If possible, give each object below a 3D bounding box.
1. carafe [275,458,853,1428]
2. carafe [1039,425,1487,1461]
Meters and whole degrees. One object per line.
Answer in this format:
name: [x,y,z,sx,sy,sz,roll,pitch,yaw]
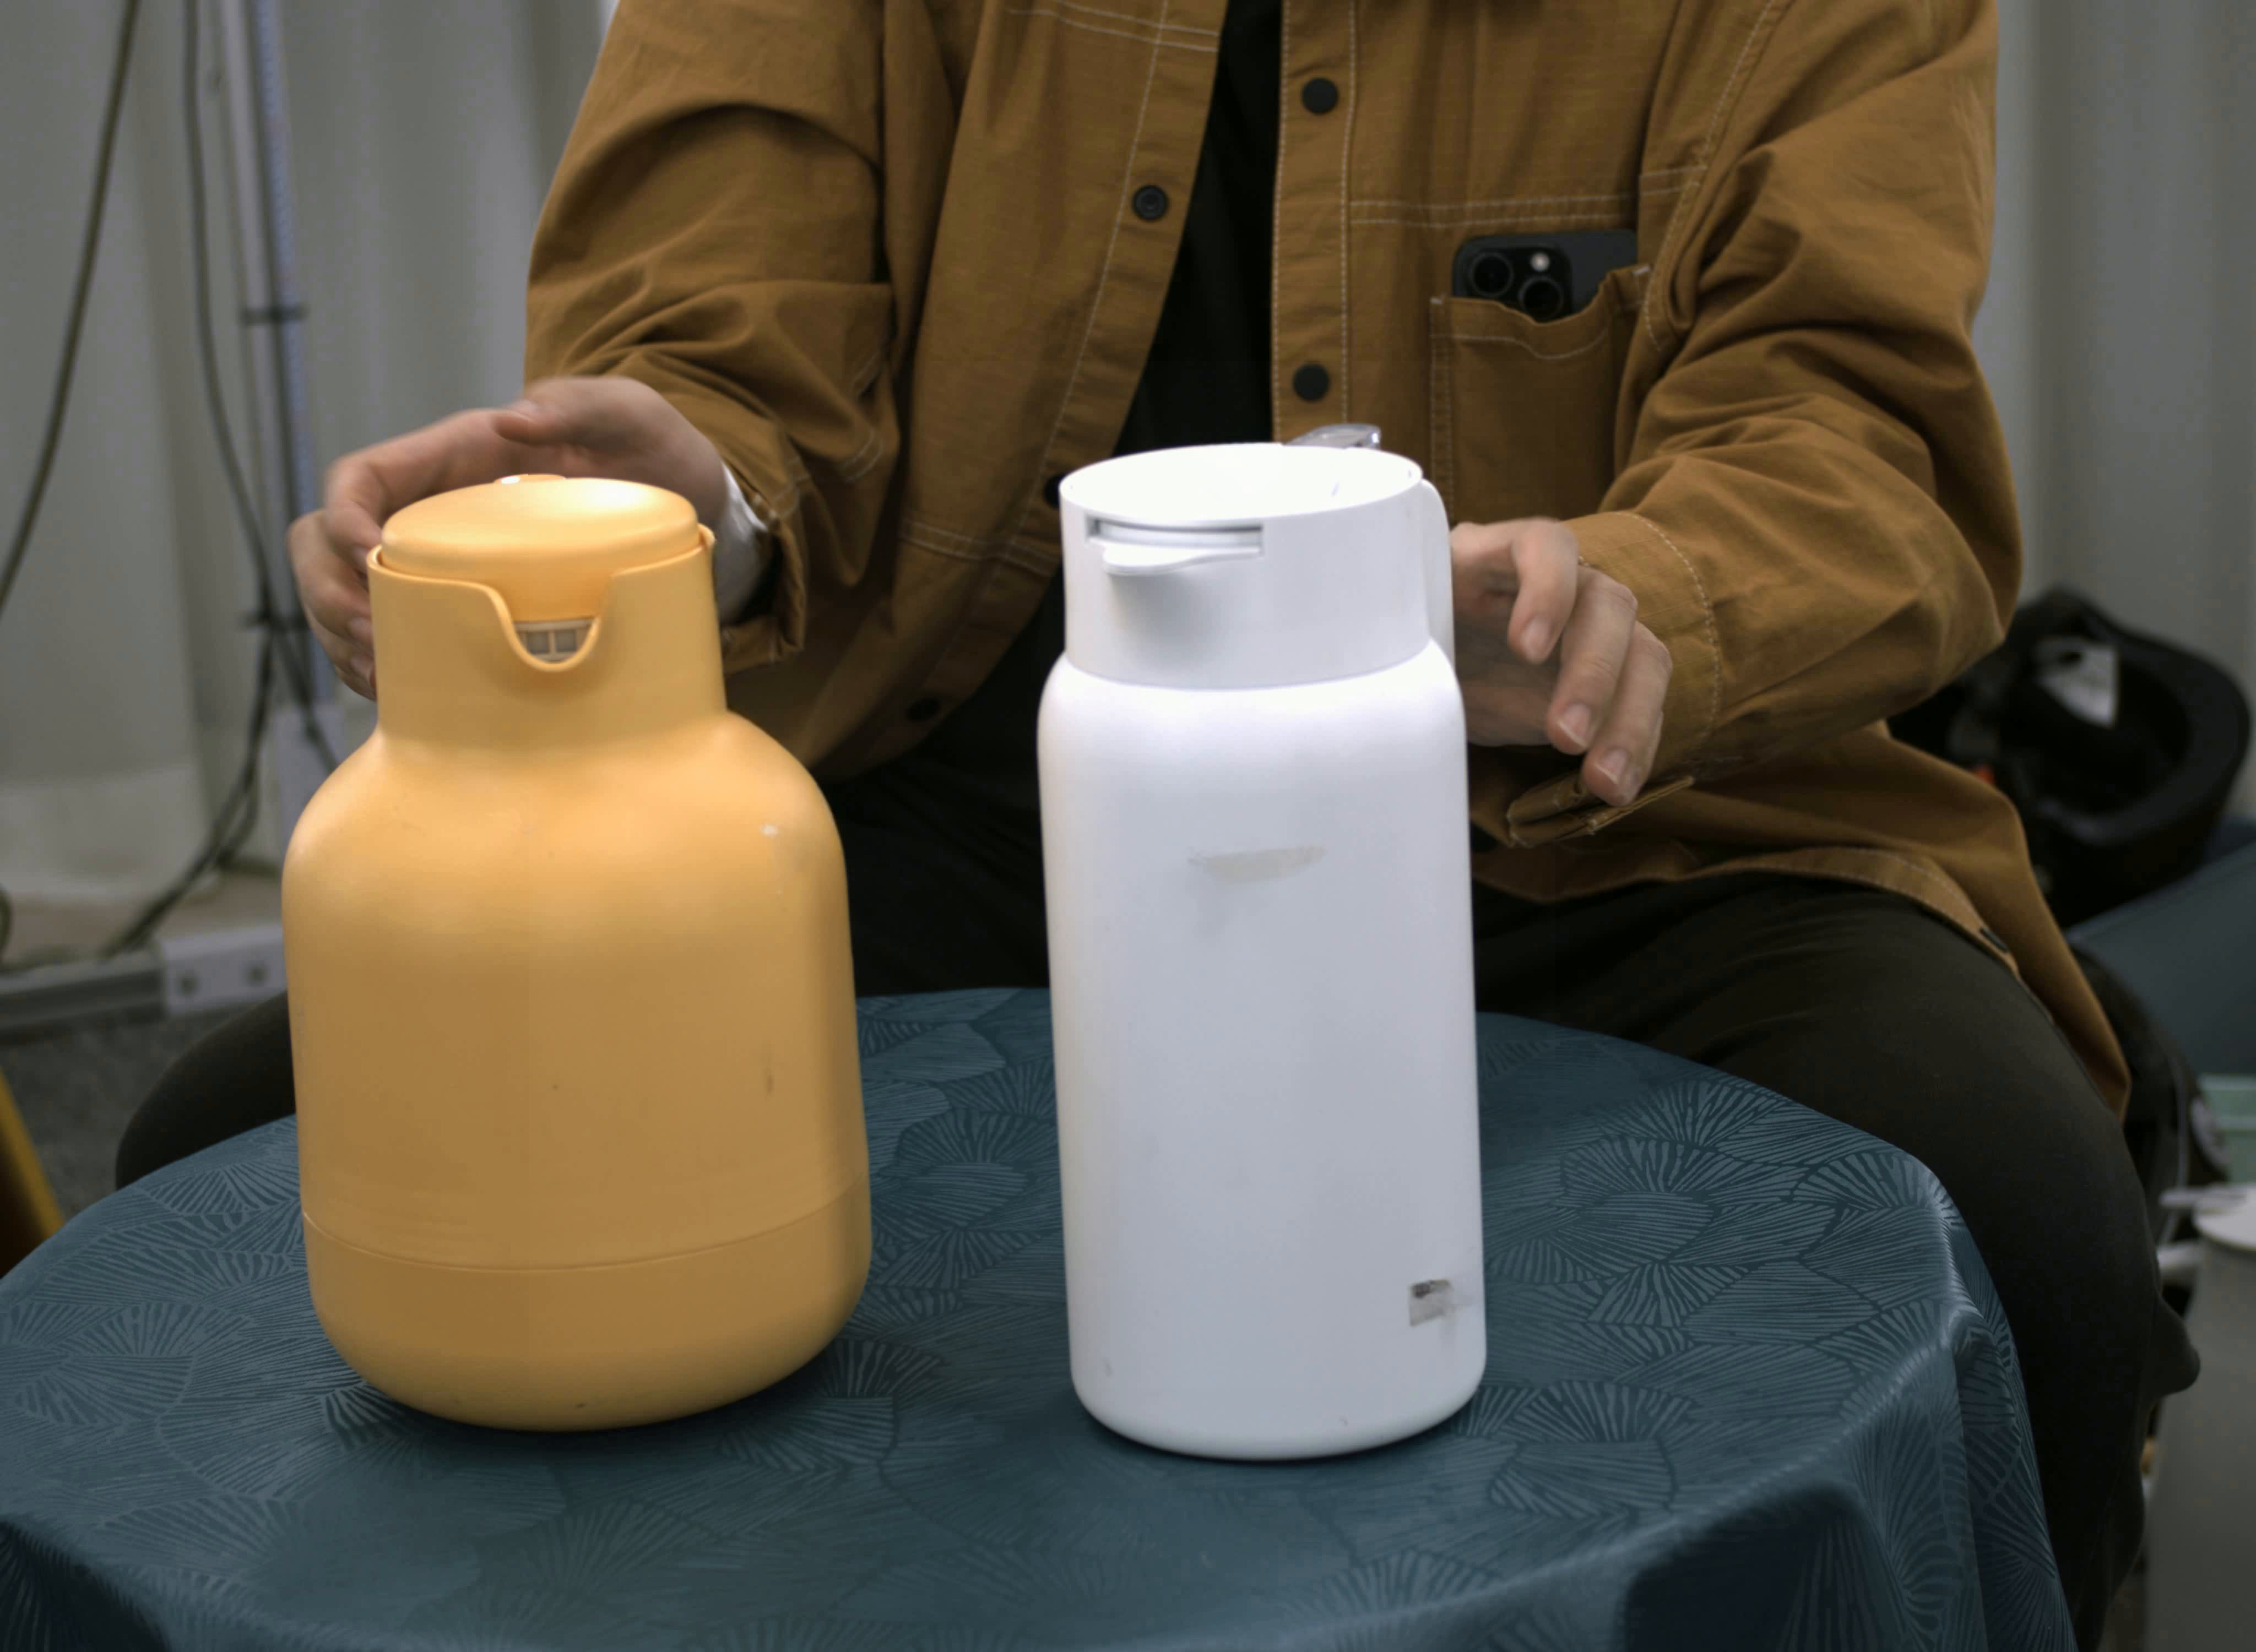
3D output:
carafe: [-0.162,0.025,1.575,0.163,0.259,0.204,-1,15,-6]
carafe: [0.043,0.028,1.518,0.124,0.268,0.173,2,14,27]
